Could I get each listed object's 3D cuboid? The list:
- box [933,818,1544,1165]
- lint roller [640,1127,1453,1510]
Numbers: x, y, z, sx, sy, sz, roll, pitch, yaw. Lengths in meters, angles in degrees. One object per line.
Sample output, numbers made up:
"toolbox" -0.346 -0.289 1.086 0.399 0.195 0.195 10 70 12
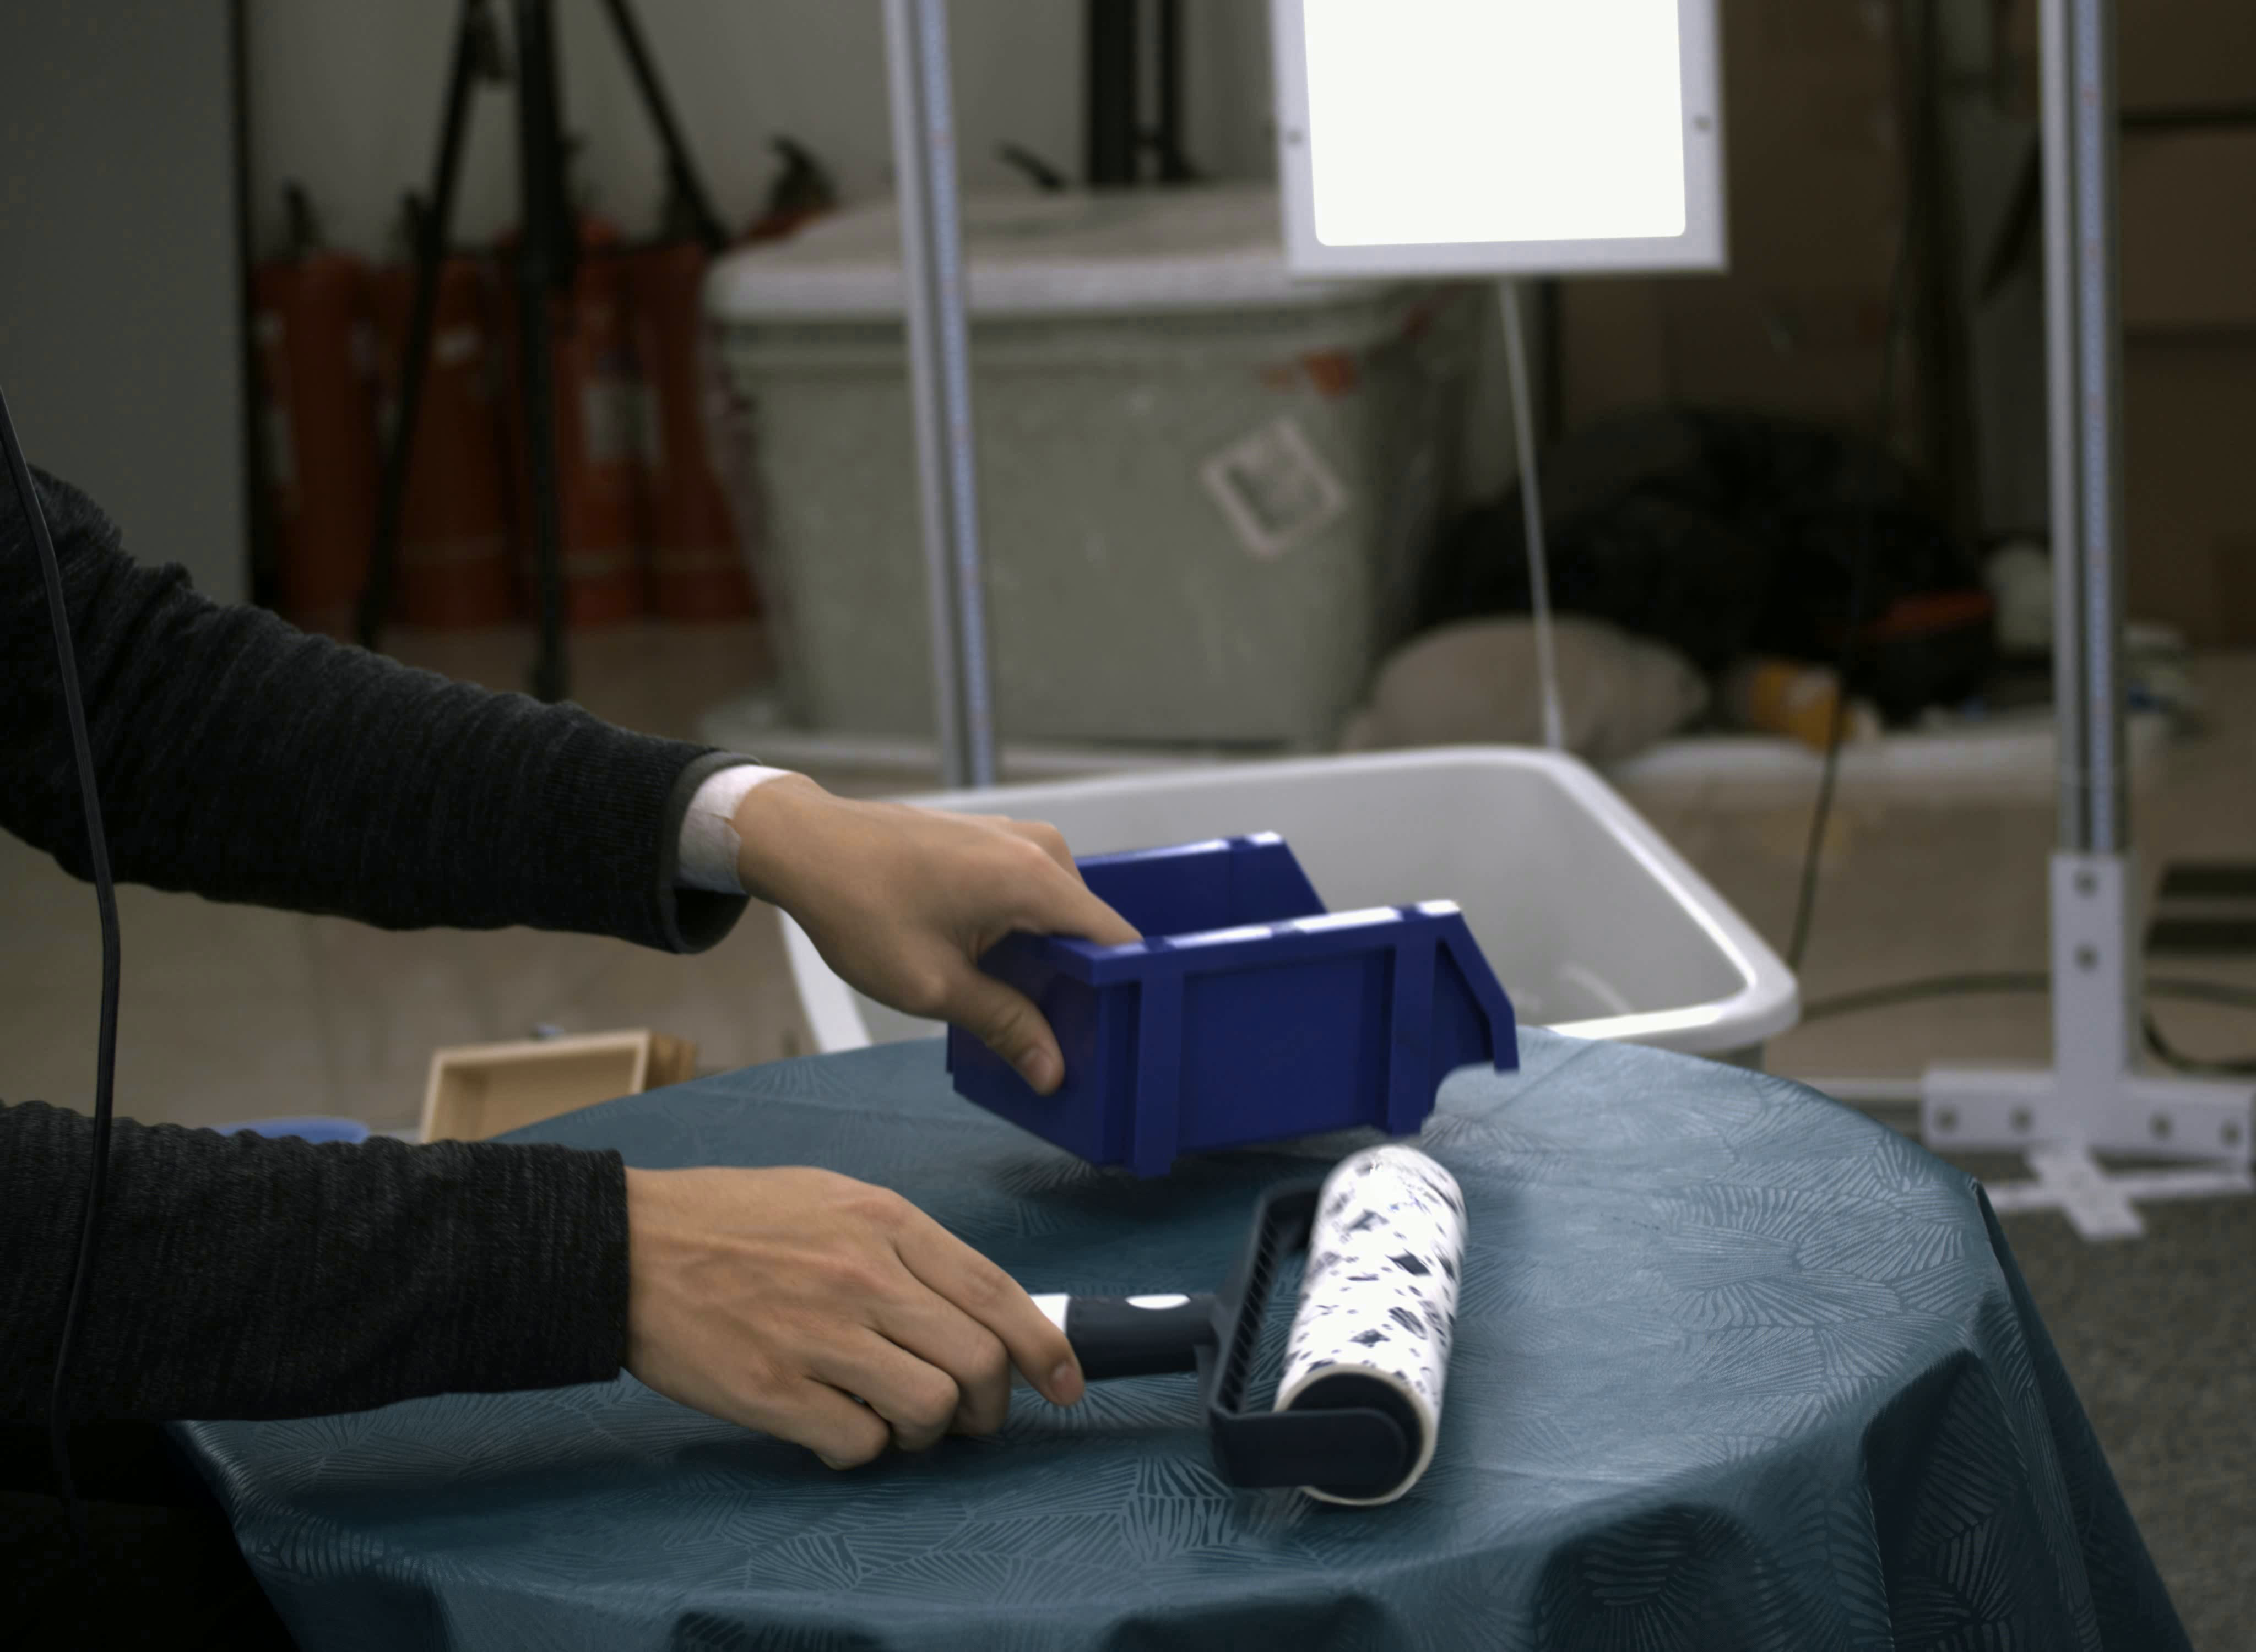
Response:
"box" 0.038 0.054 1.923 0.175 0.082 0.126 -10 16 -27
"lint roller" -0.028 0.152 1.667 0.248 0.050 0.175 -3 22 10
